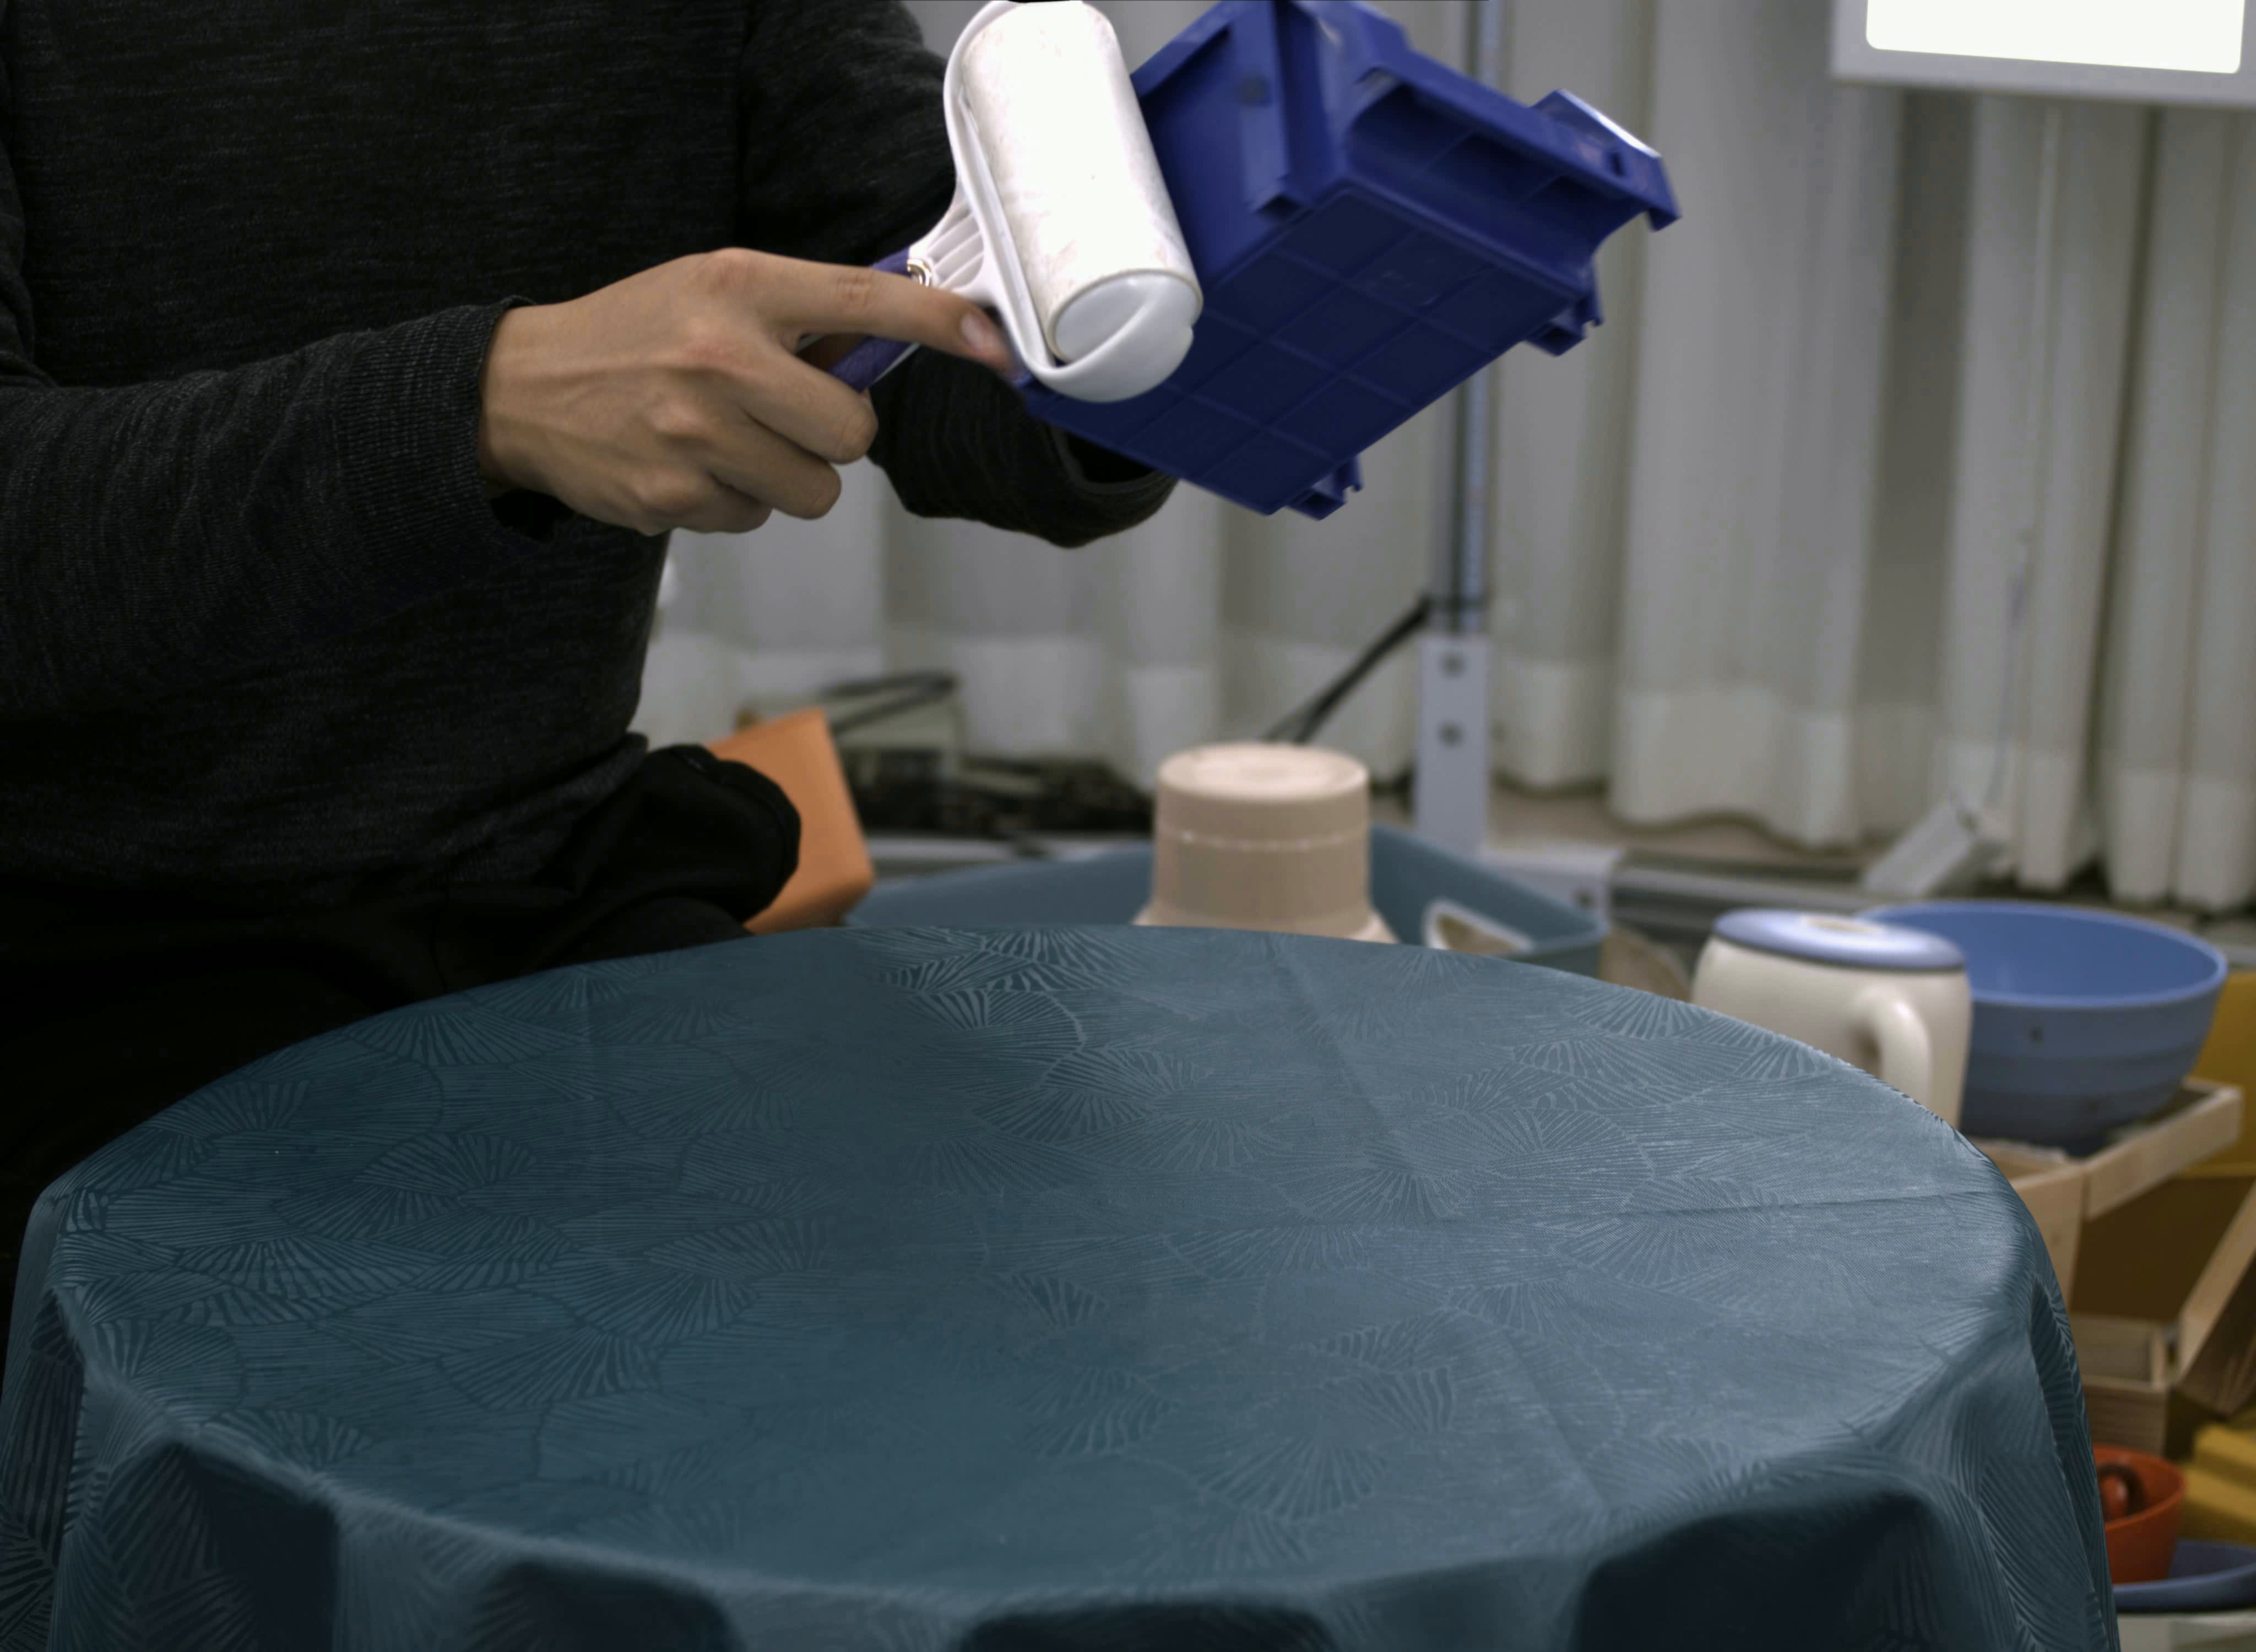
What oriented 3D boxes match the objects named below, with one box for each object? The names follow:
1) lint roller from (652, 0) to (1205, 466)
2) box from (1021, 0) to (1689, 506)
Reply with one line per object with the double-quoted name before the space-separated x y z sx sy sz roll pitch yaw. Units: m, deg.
"lint roller" -0.070 -0.160 1.511 0.180 0.132 0.051 -25 -28 16
"box" 0.058 -0.177 1.530 0.126 0.179 0.081 19 49 -34
